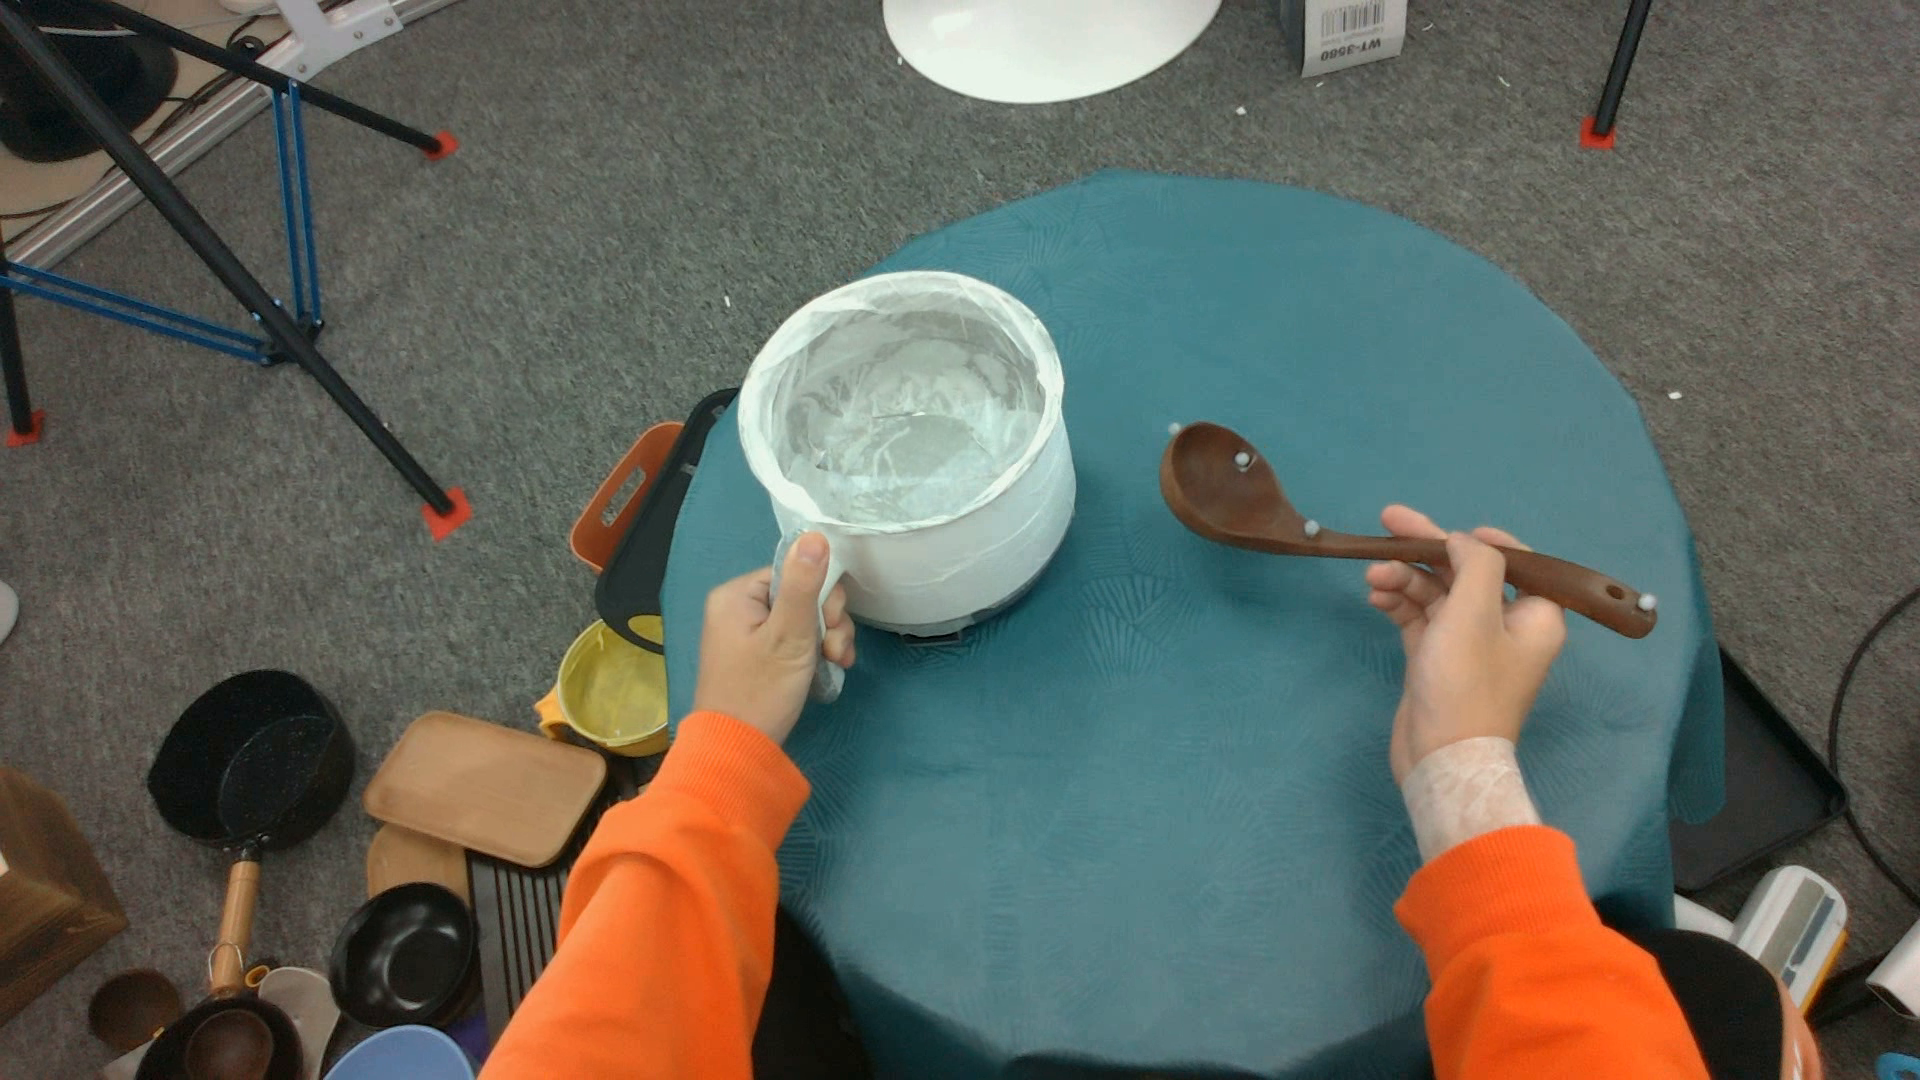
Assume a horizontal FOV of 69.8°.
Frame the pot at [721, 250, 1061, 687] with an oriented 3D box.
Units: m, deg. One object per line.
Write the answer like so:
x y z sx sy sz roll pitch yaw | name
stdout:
-0.046 -0.034 0.776 0.178 0.136 0.234 20 64 20 | pot

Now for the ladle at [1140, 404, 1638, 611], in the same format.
0.215 -0.019 0.717 0.260 0.065 0.077 14 45 33 | ladle
